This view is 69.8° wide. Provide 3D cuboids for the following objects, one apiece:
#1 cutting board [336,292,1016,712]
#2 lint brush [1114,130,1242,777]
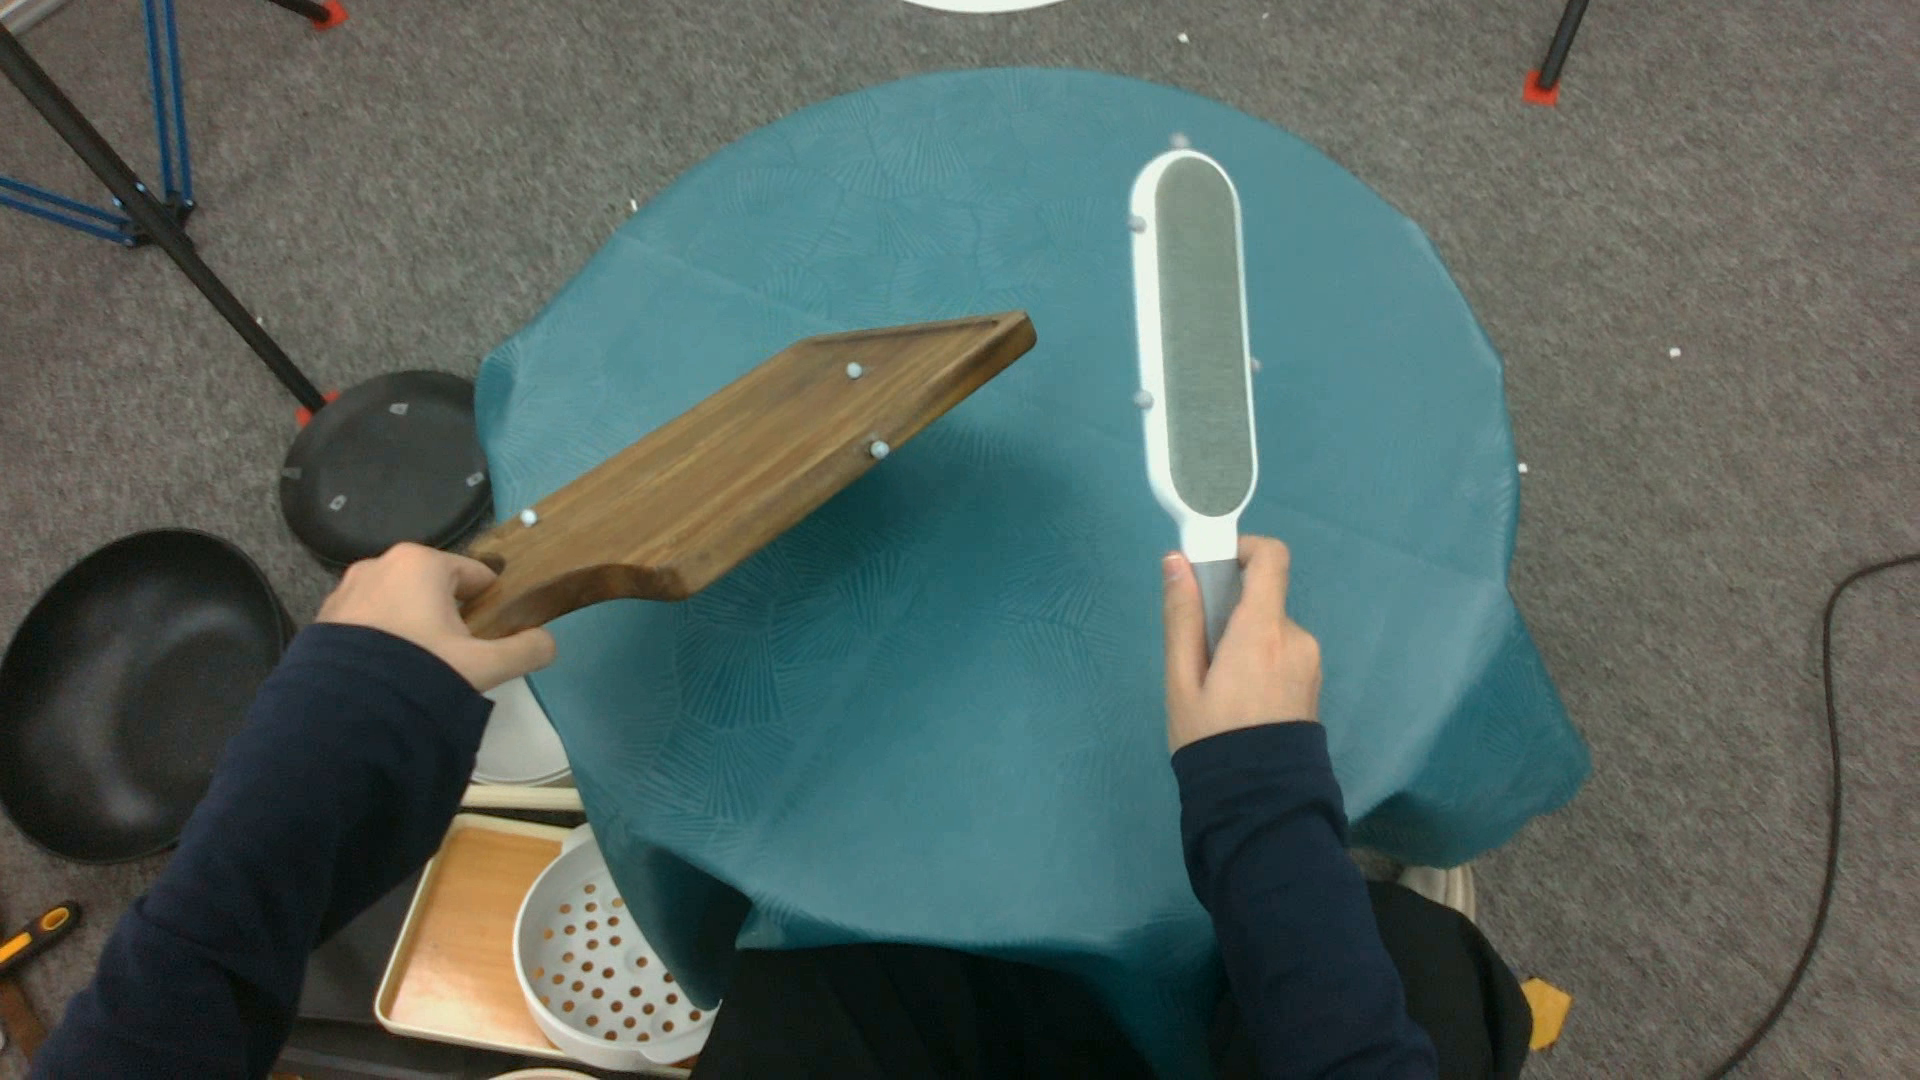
[{"bbox_3d":[-0.146,-0.031,0.673,0.200,0.023,0.354,3,35,45],"label":"cutting board"},{"bbox_3d":[0.107,-0.043,0.650,0.060,0.021,0.309,-2,85,-35],"label":"lint brush"}]
